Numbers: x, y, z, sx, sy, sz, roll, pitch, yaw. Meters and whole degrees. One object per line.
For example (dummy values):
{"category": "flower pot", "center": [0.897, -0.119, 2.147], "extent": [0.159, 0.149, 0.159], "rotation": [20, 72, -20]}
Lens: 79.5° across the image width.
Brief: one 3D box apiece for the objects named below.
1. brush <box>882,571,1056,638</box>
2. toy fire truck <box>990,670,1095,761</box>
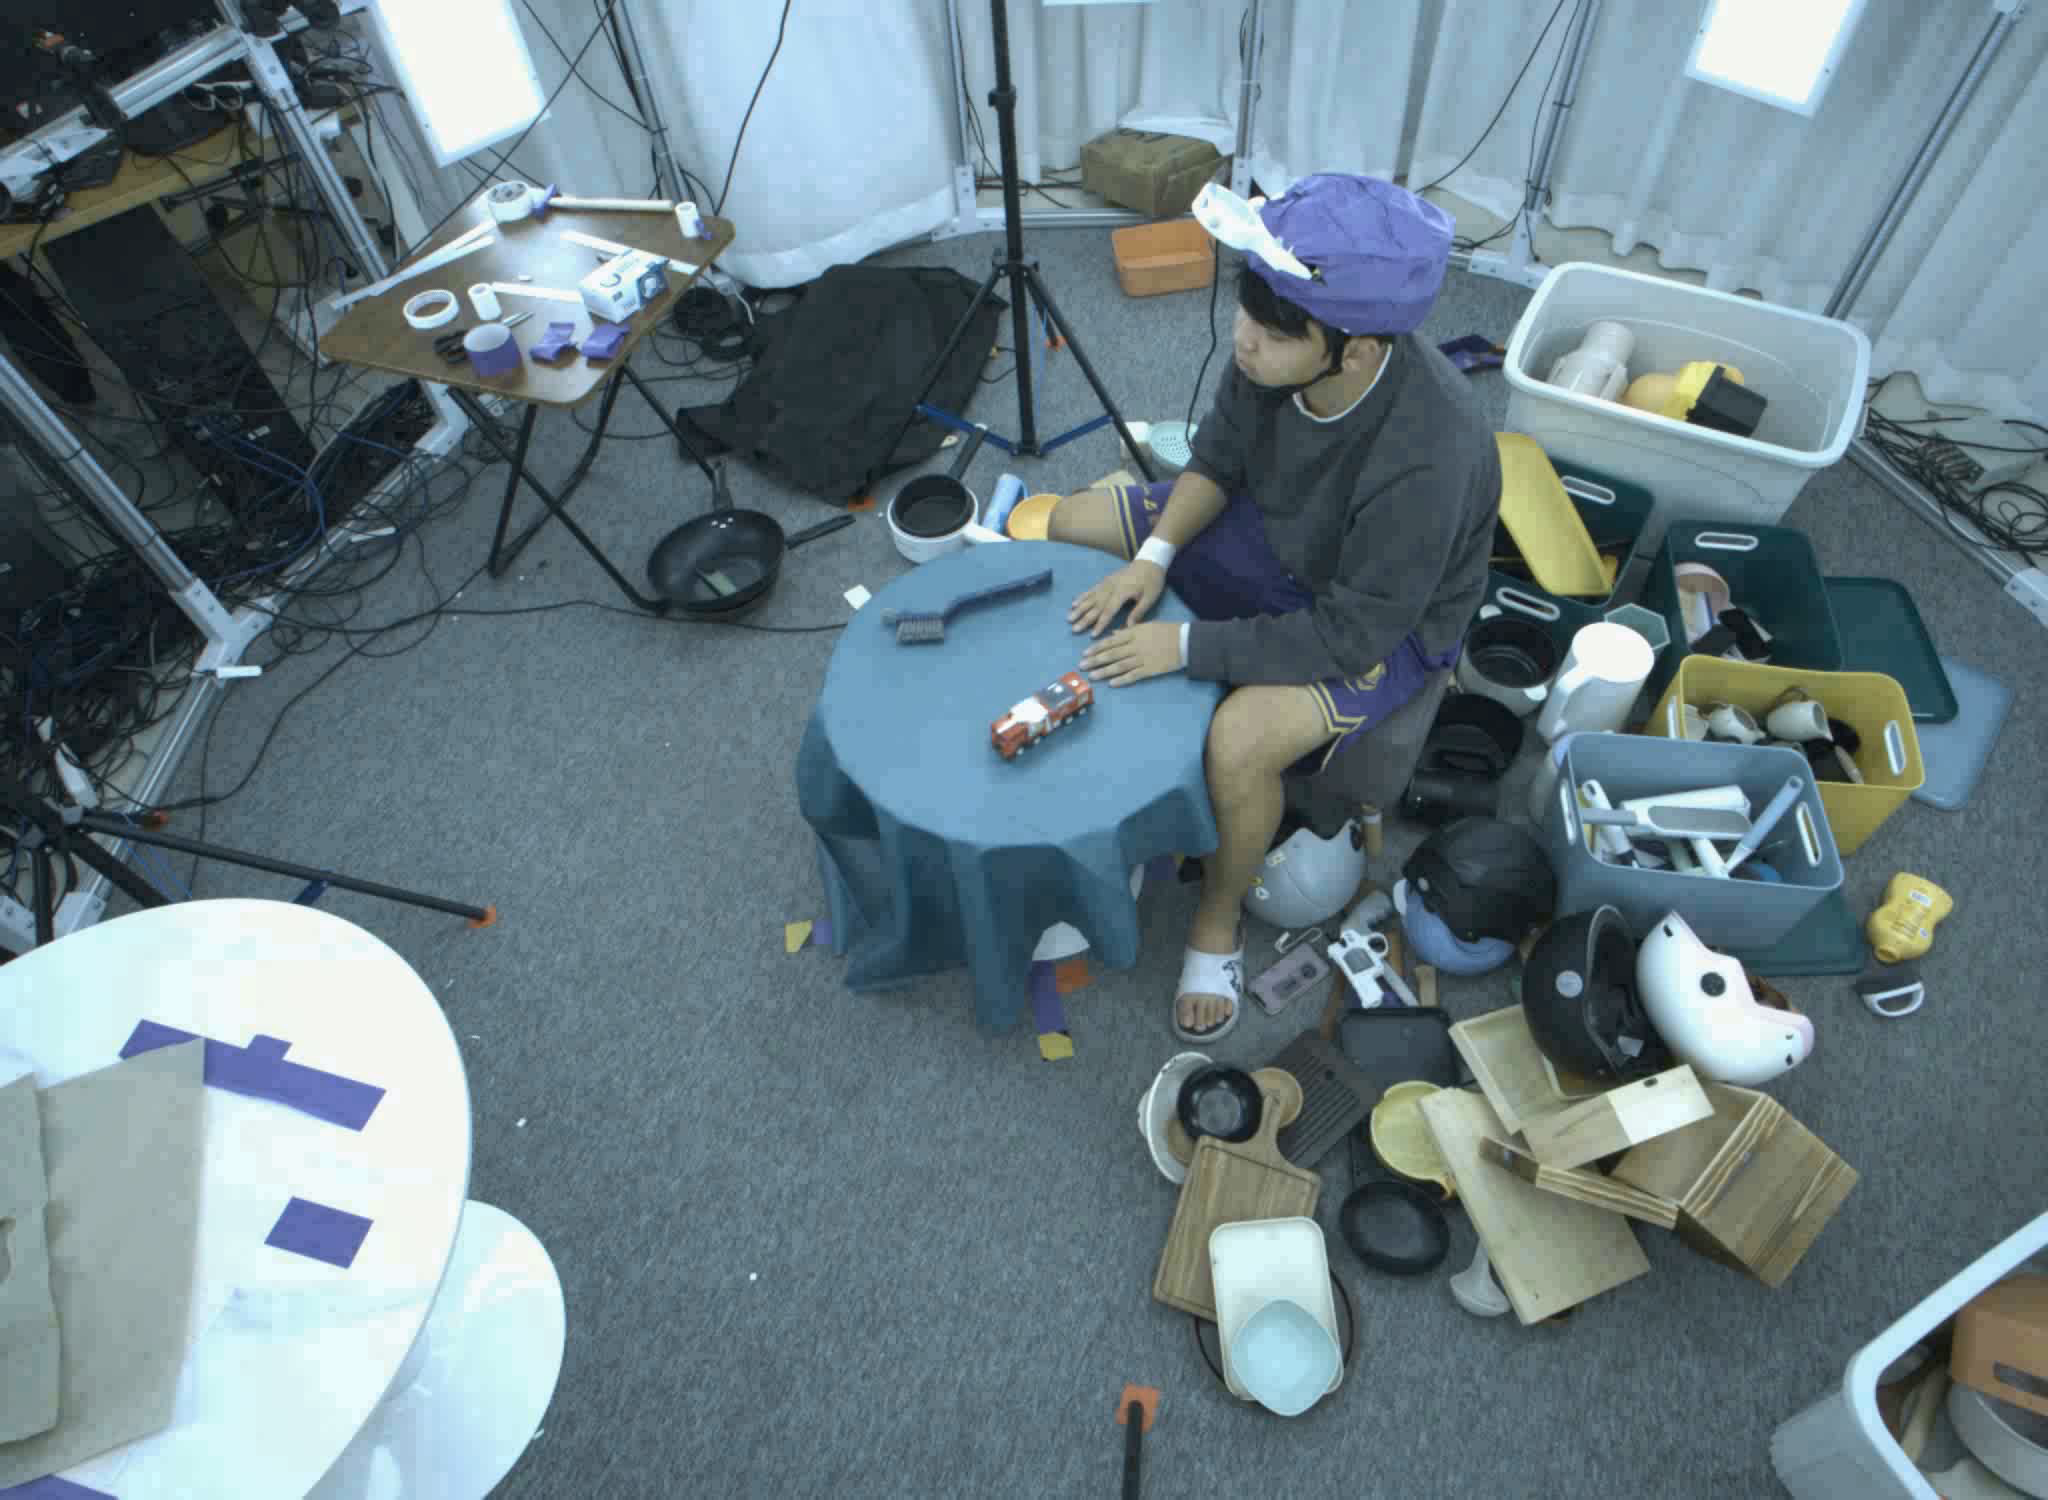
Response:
{"category": "brush", "center": [-0.085, -0.242, 1.945], "extent": [0.275, 0.034, 0.094], "rotation": [-24, 56, -13]}
{"category": "toy fire truck", "center": [0.026, -0.051, 1.789], "extent": [0.169, 0.071, 0.053], "rotation": [-33, 59, -20]}
